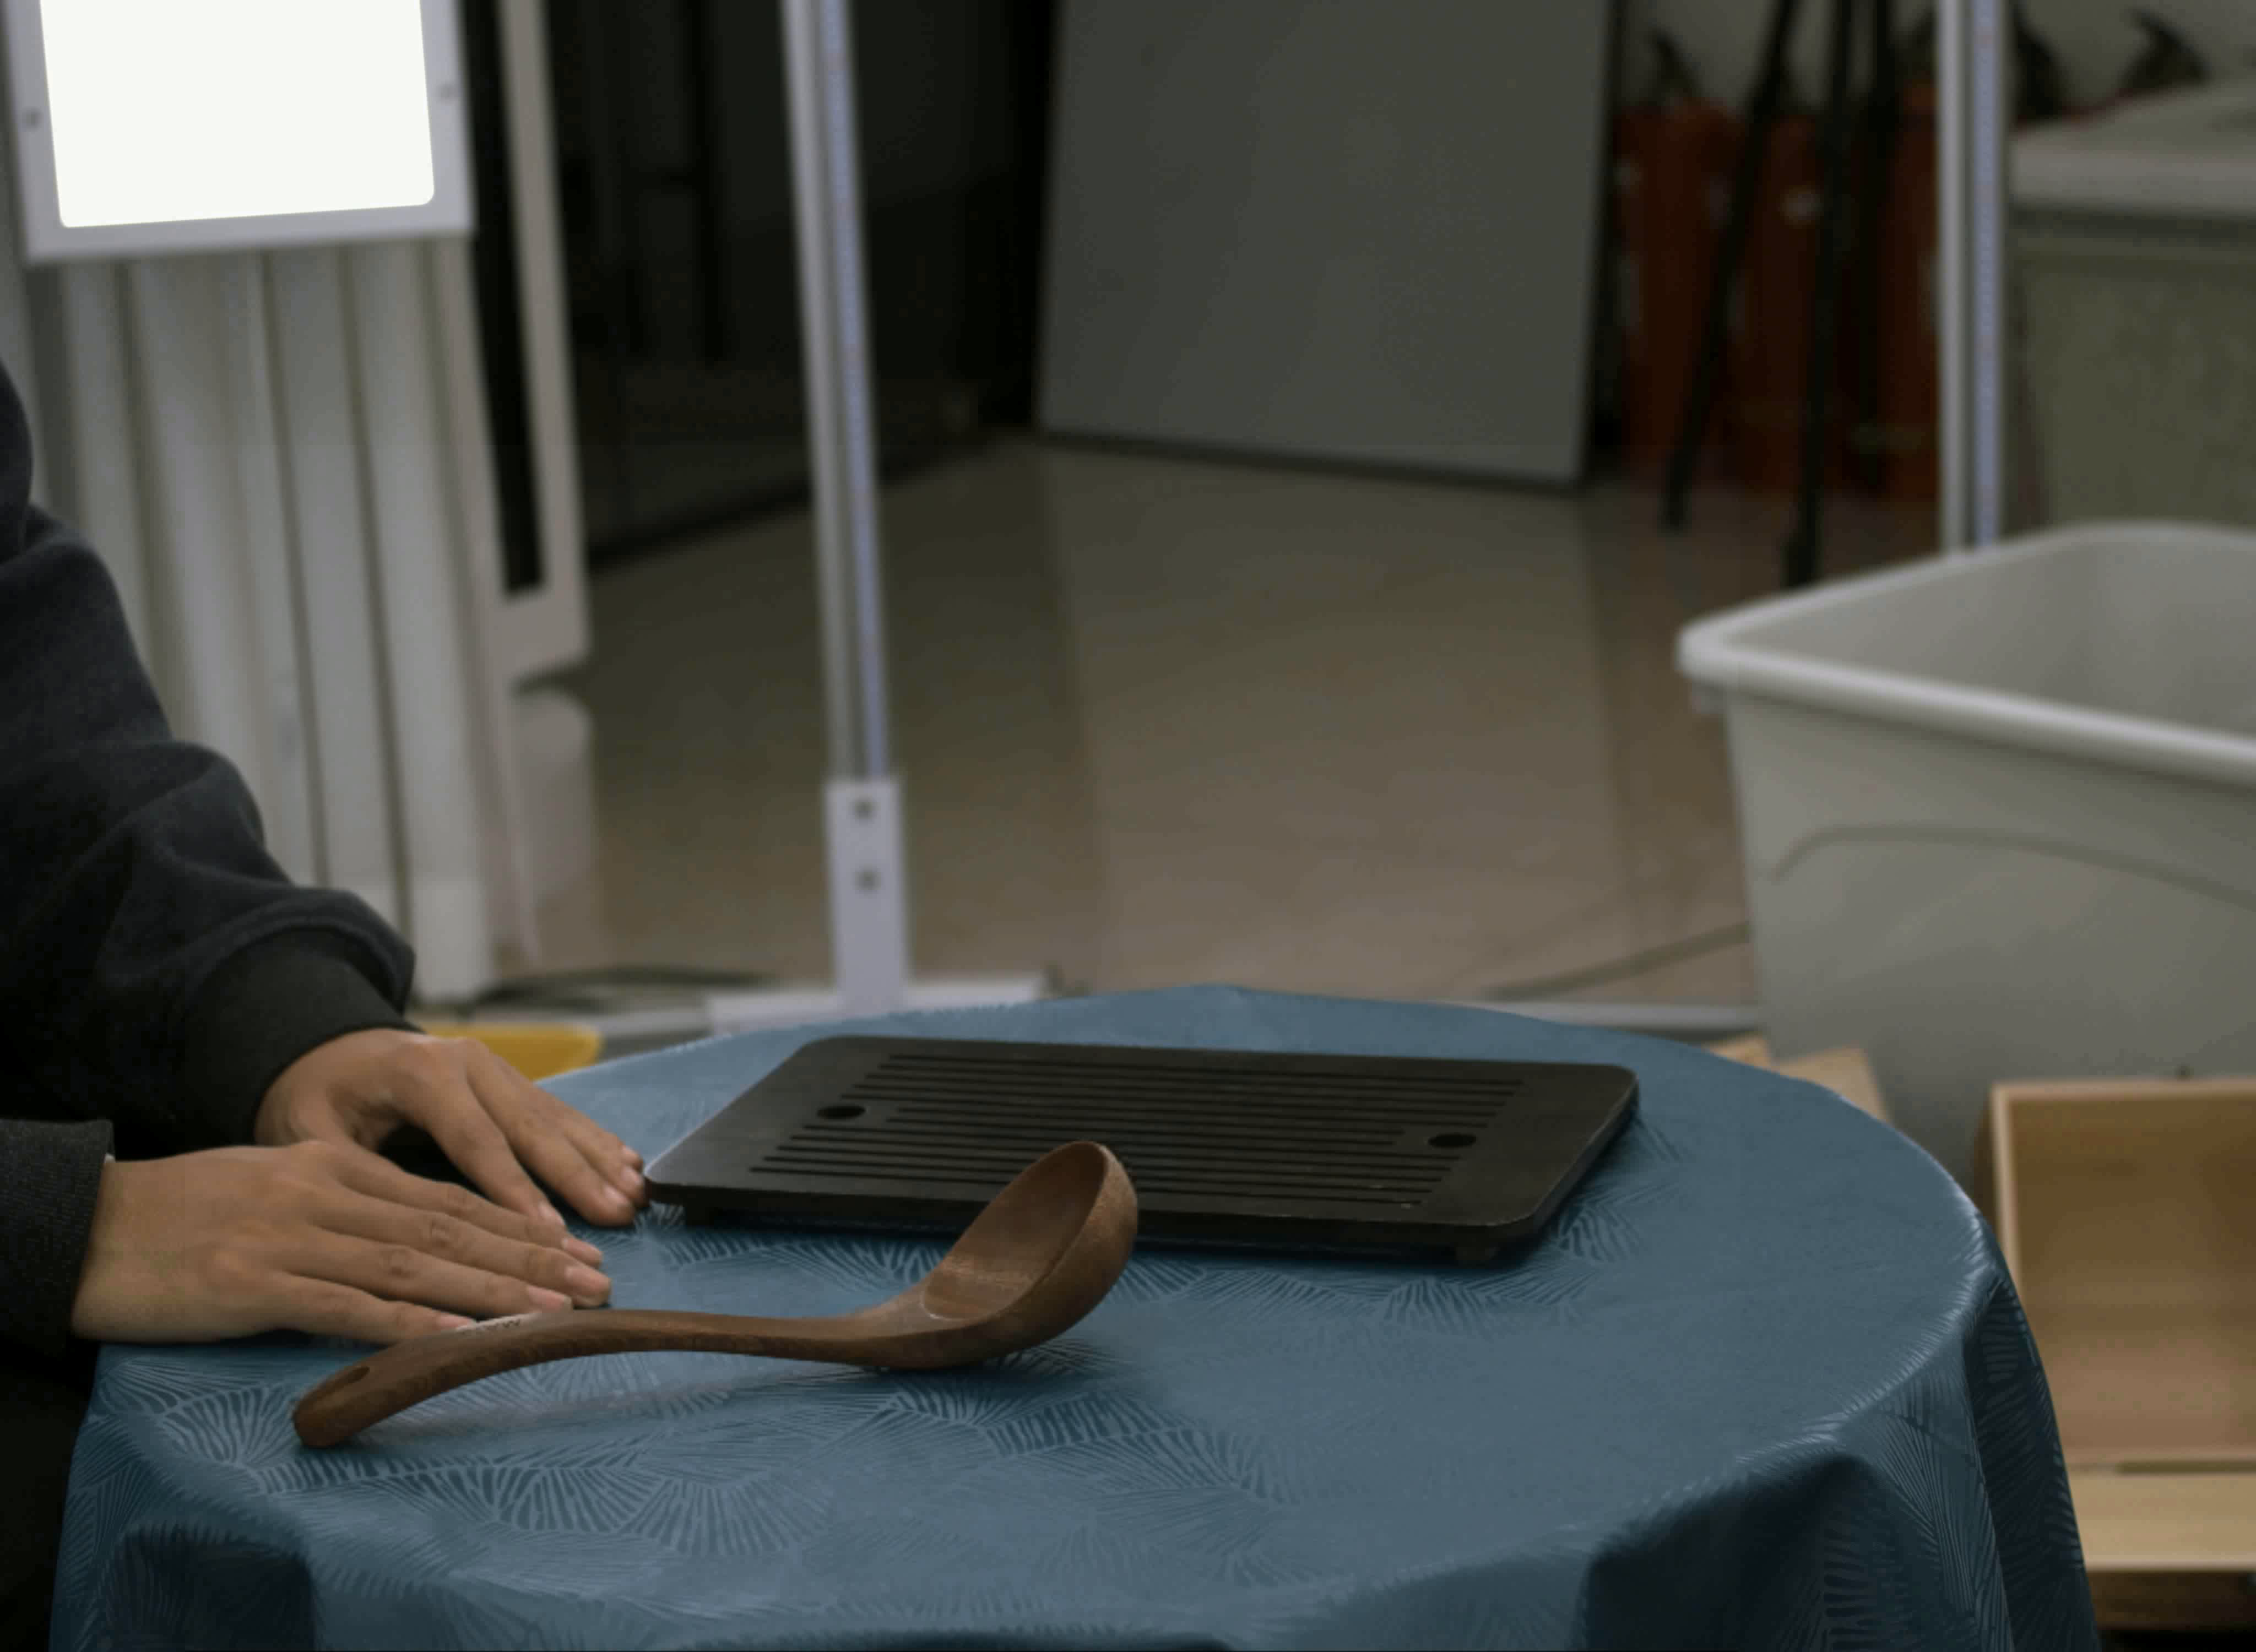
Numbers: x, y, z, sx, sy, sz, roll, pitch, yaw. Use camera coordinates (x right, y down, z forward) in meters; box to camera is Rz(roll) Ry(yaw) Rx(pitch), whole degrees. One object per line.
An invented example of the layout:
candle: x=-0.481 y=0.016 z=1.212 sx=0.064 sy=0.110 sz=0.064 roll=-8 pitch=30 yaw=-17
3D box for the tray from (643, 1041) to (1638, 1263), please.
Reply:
tray: x=0.006 y=0.107 z=1.789 sx=0.305 sy=0.019 sz=0.168 roll=1 pitch=14 yaw=21

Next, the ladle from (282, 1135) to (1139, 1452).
ladle: x=-0.123 y=0.138 z=1.599 sx=0.256 sy=0.066 sz=0.077 roll=-6 pitch=13 yaw=-8
